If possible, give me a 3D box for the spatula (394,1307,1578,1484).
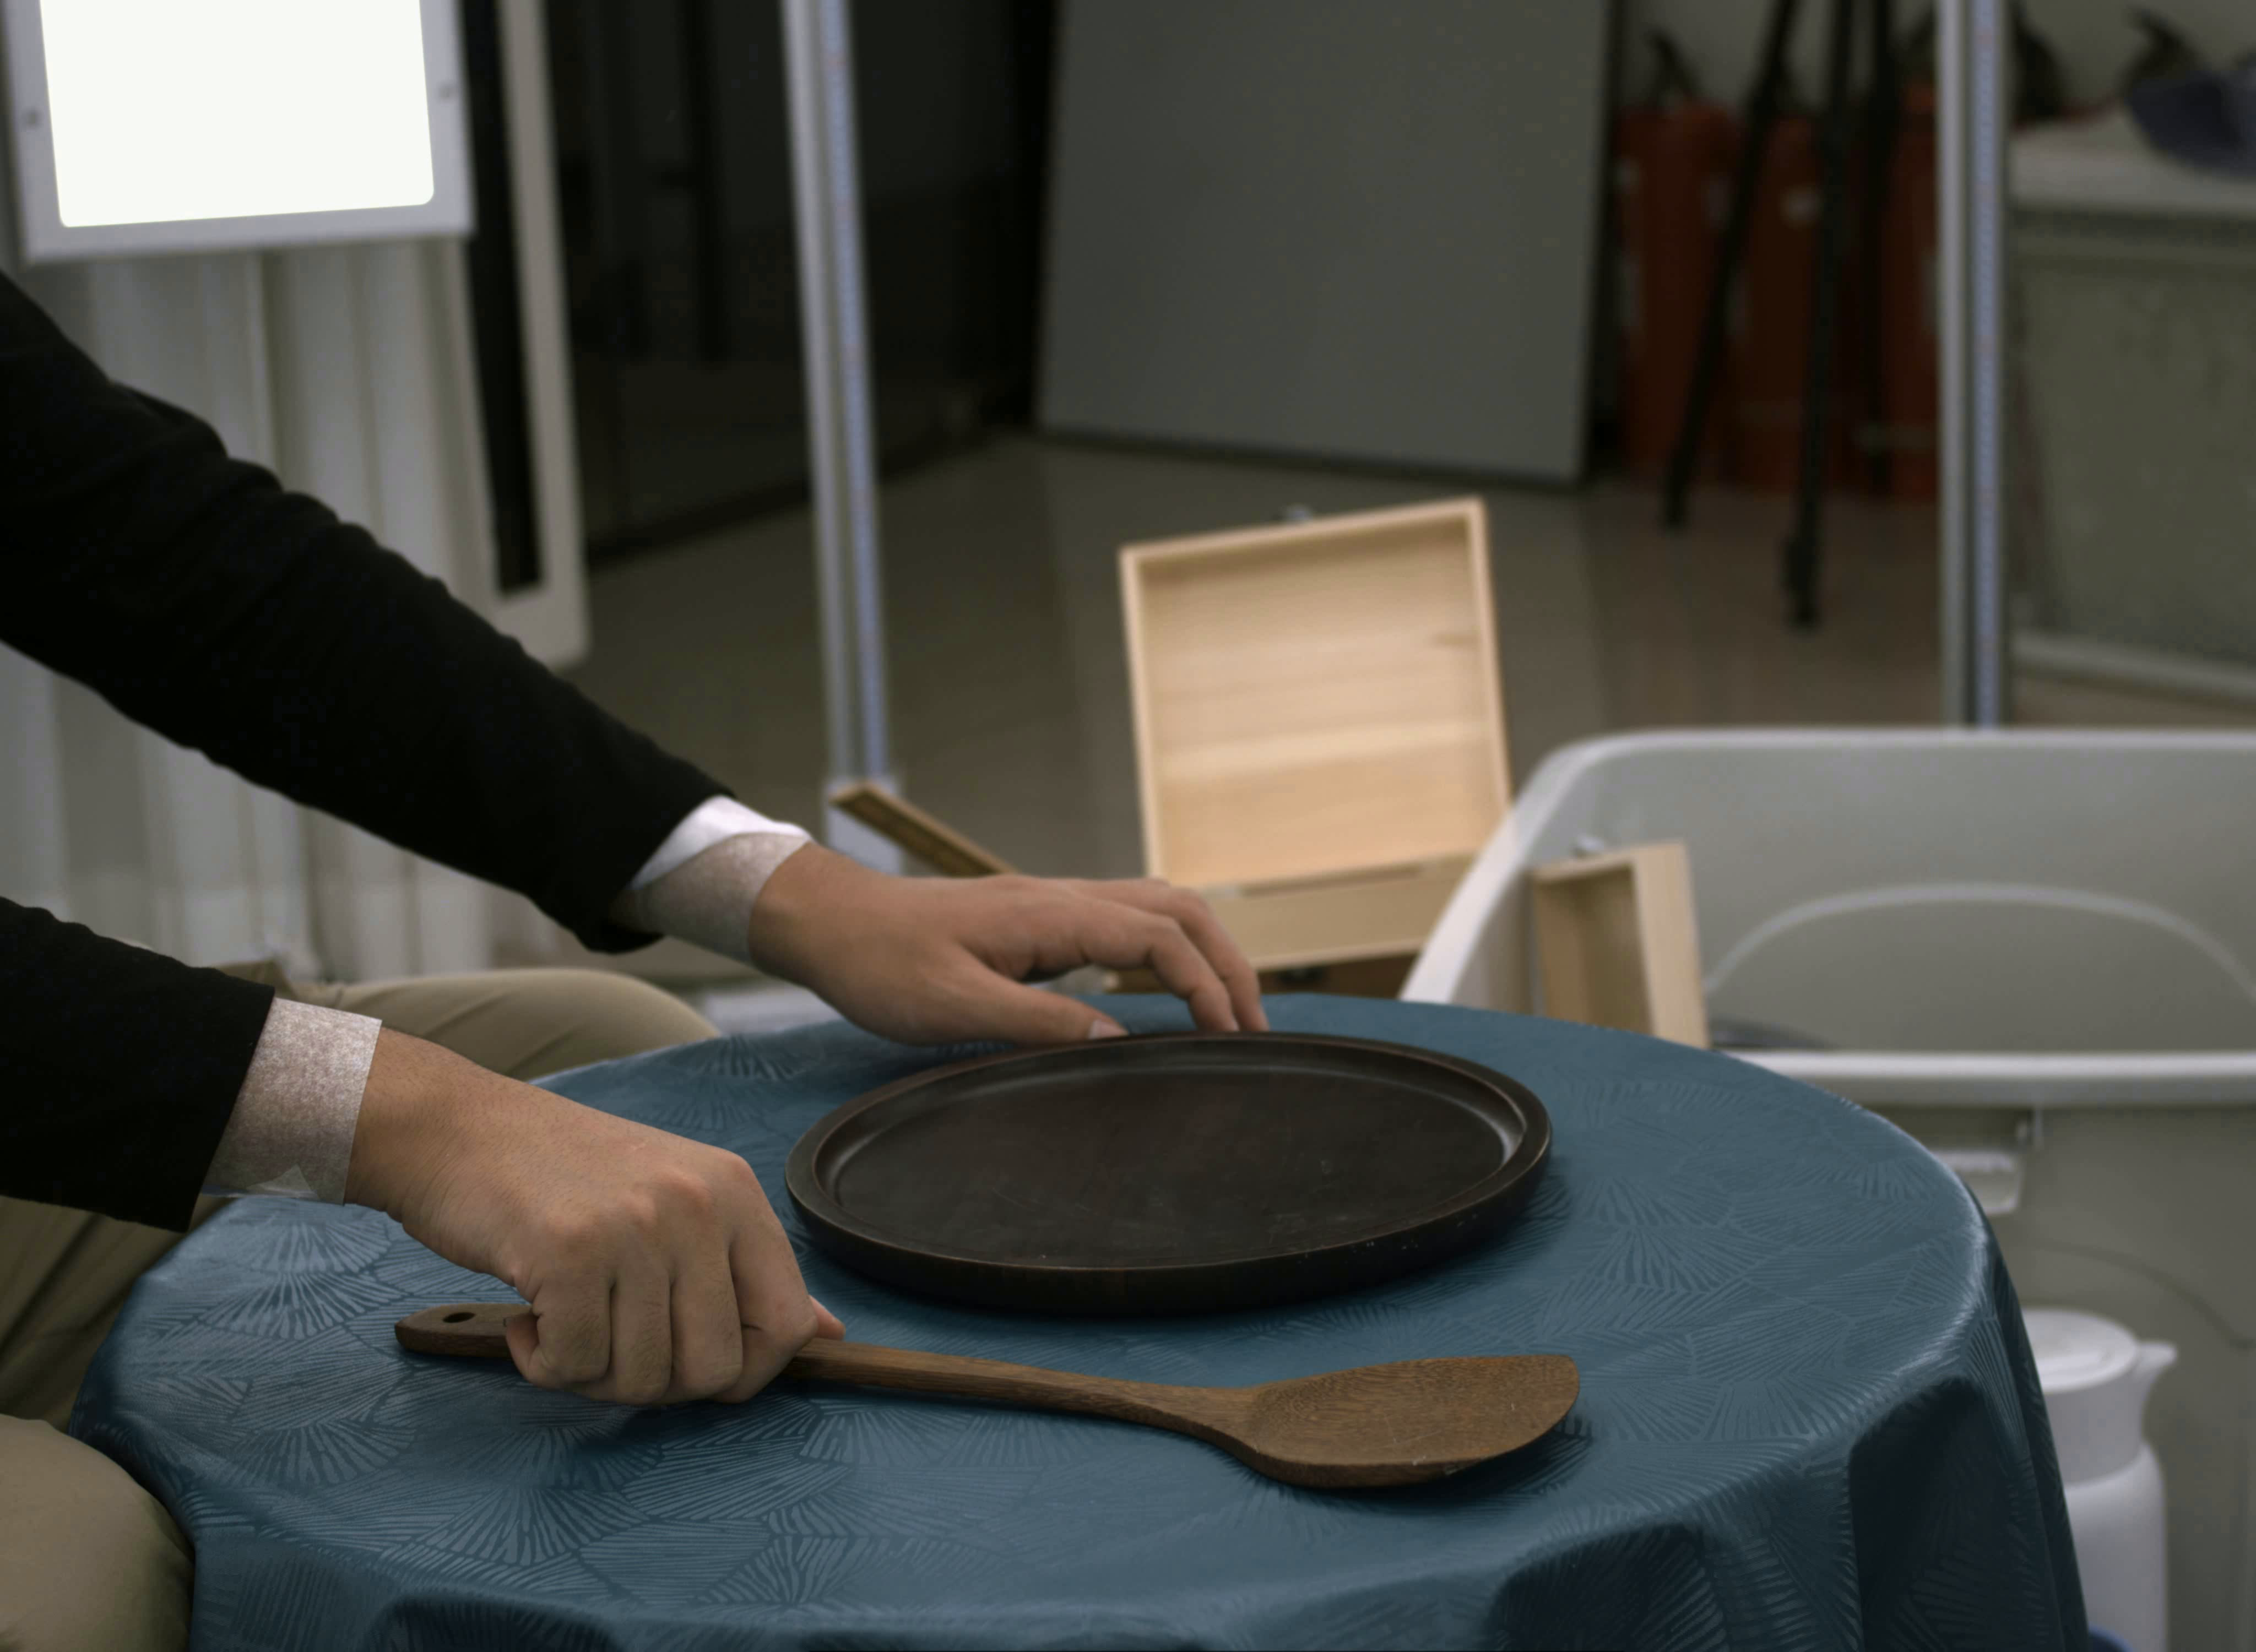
[{"bbox_3d":[-0.052,0.162,1.587,0.386,0.016,0.095,2,15,26],"label":"spatula"}]

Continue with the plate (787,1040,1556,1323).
[{"bbox_3d":[0.014,0.112,1.751,0.251,0.029,0.255,-4,15,0],"label":"plate"}]
